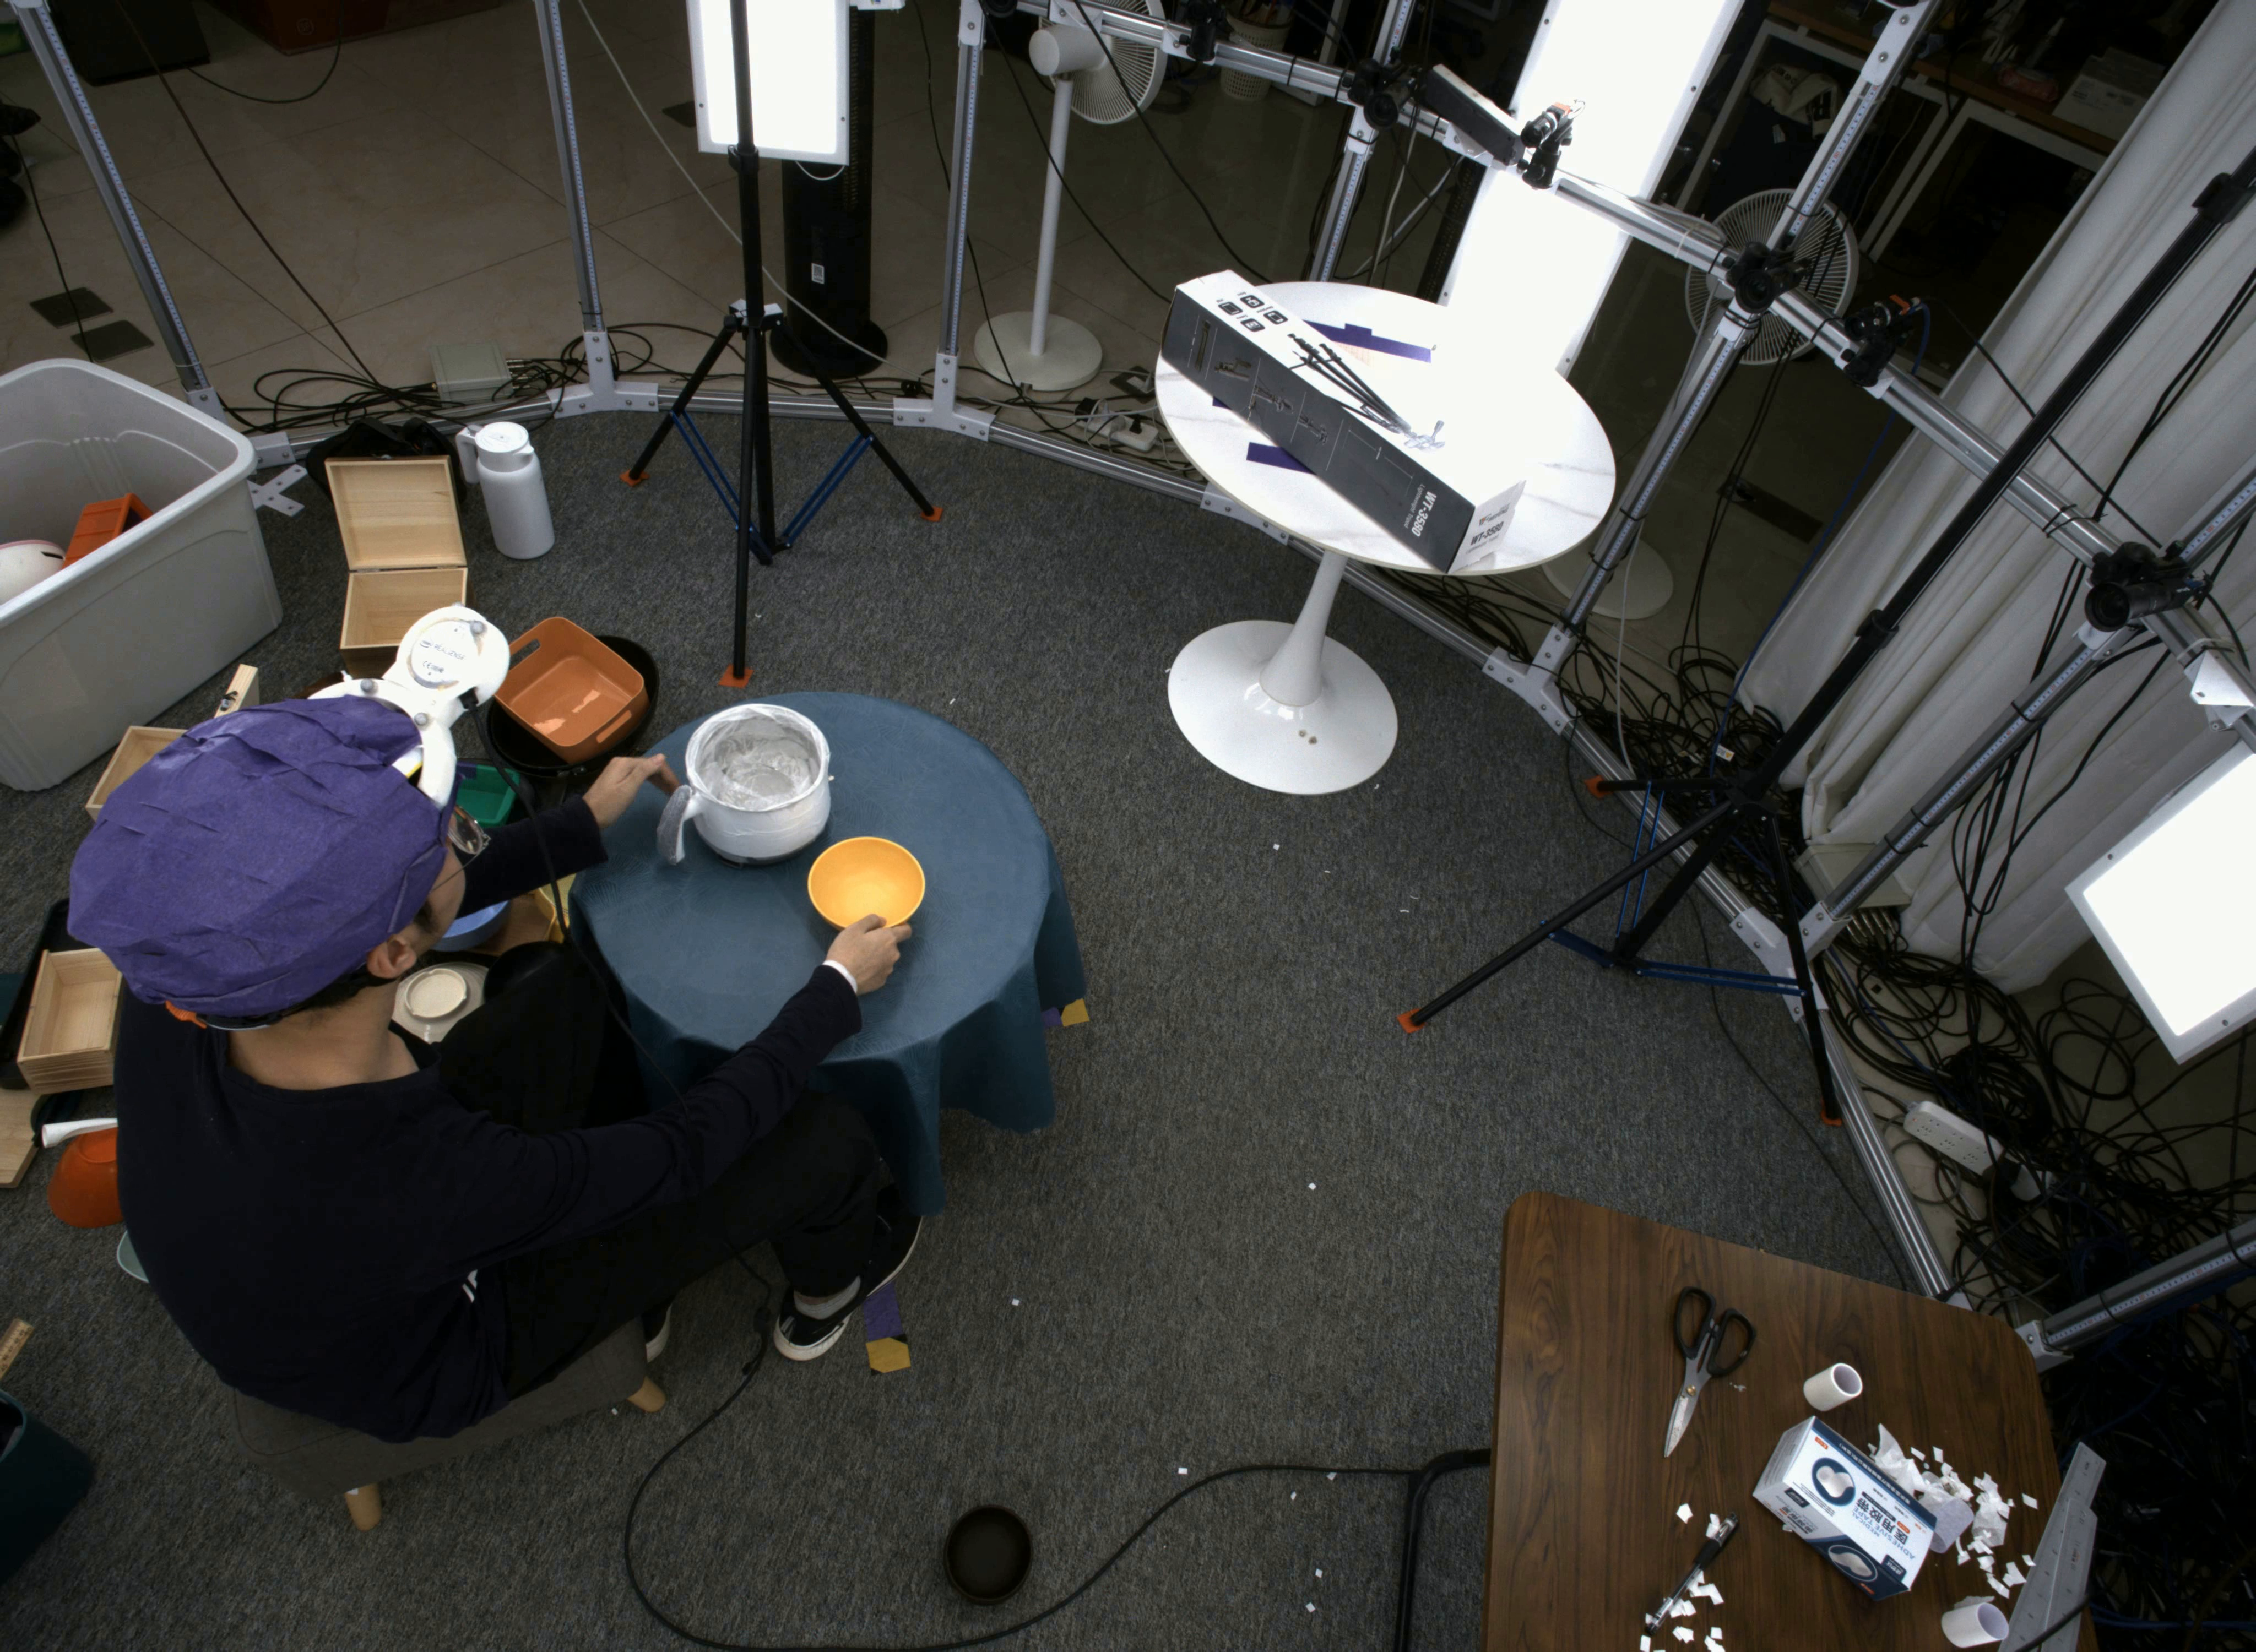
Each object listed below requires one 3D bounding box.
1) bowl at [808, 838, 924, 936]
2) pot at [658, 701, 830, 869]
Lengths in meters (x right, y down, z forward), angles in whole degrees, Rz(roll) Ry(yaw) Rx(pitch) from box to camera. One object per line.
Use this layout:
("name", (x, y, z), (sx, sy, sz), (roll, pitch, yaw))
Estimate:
("bowl", (-0.332, 0.087, 1.654), (0.145, 0.061, 0.142), (7, 51, -7))
("pot", (-0.496, -0.039, 1.657), (0.234, 0.140, 0.174), (-33, 63, -32))
